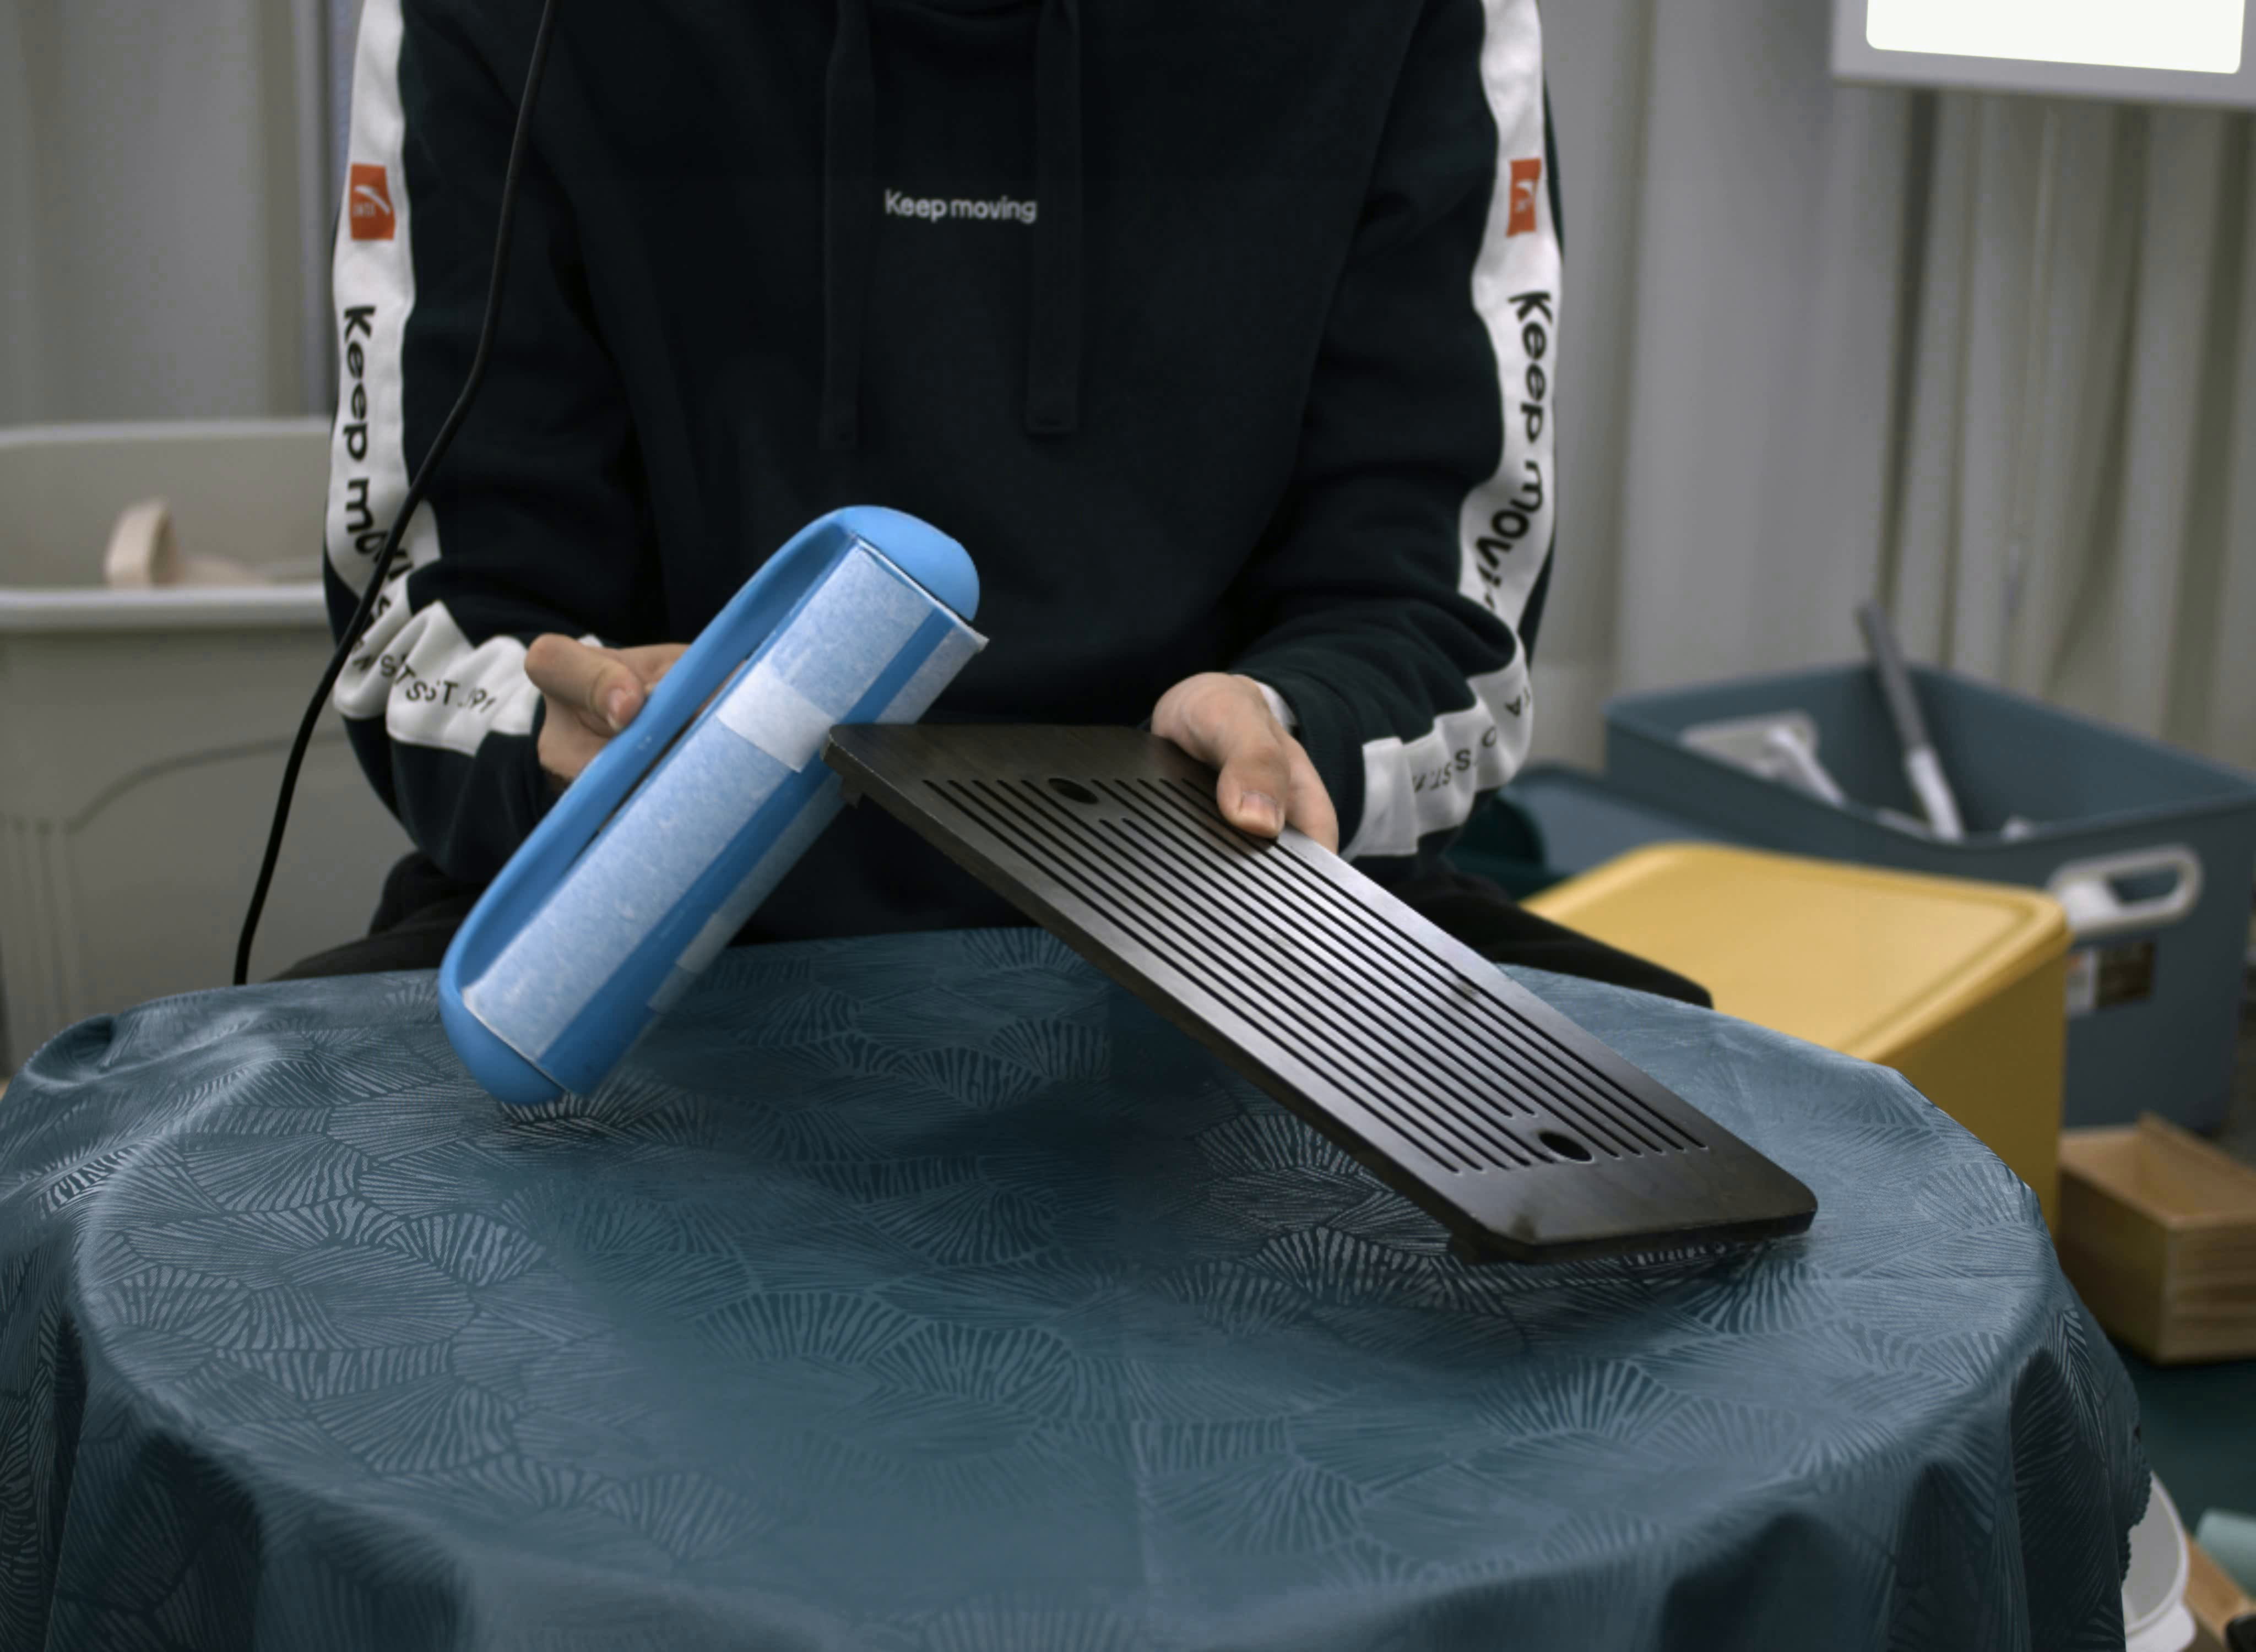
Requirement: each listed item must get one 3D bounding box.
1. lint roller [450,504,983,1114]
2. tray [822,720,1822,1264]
[{"bbox_3d":[-0.140,-0.011,1.717,0.068,0.229,0.179,38,-2,-14],"label":"lint roller"},{"bbox_3d":[0.056,0.048,1.603,0.302,0.019,0.171,36,21,32],"label":"tray"}]
